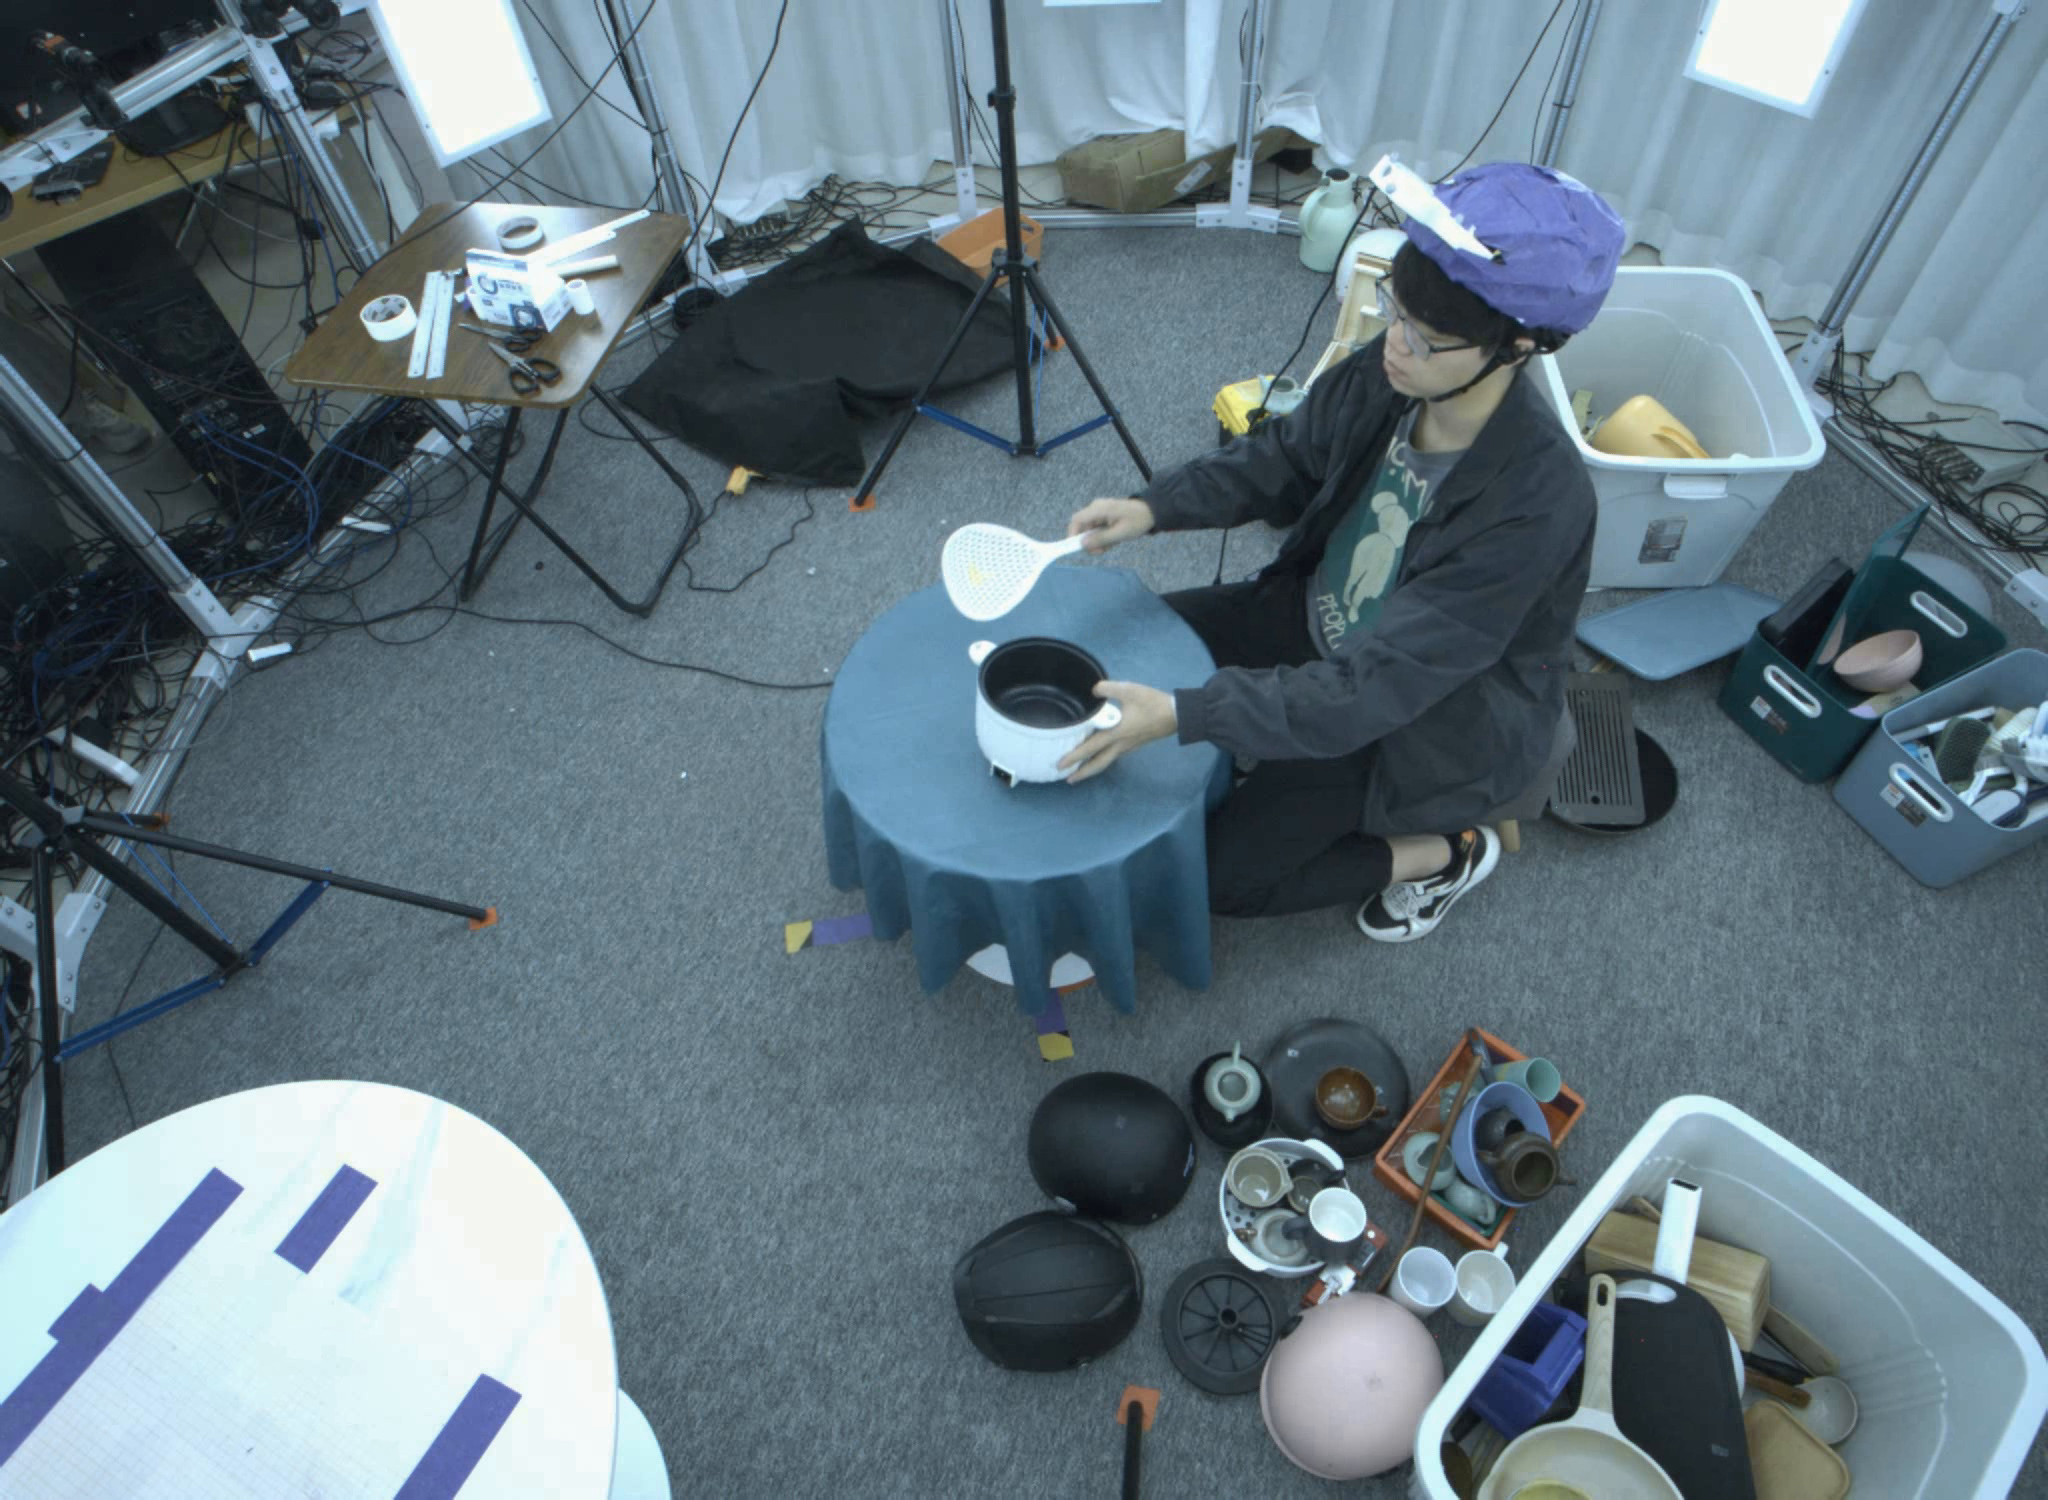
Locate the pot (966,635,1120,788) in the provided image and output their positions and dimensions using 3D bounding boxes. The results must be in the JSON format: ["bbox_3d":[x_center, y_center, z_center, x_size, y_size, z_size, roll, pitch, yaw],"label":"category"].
[{"bbox_3d":[0.023,-0.053,1.715,0.237,0.144,0.191,29,55,17],"label":"pot"}]

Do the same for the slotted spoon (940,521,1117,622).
[{"bbox_3d":[0.017,-0.283,1.784,0.353,0.049,0.137,-23,101,-31],"label":"slotted spoon"}]
